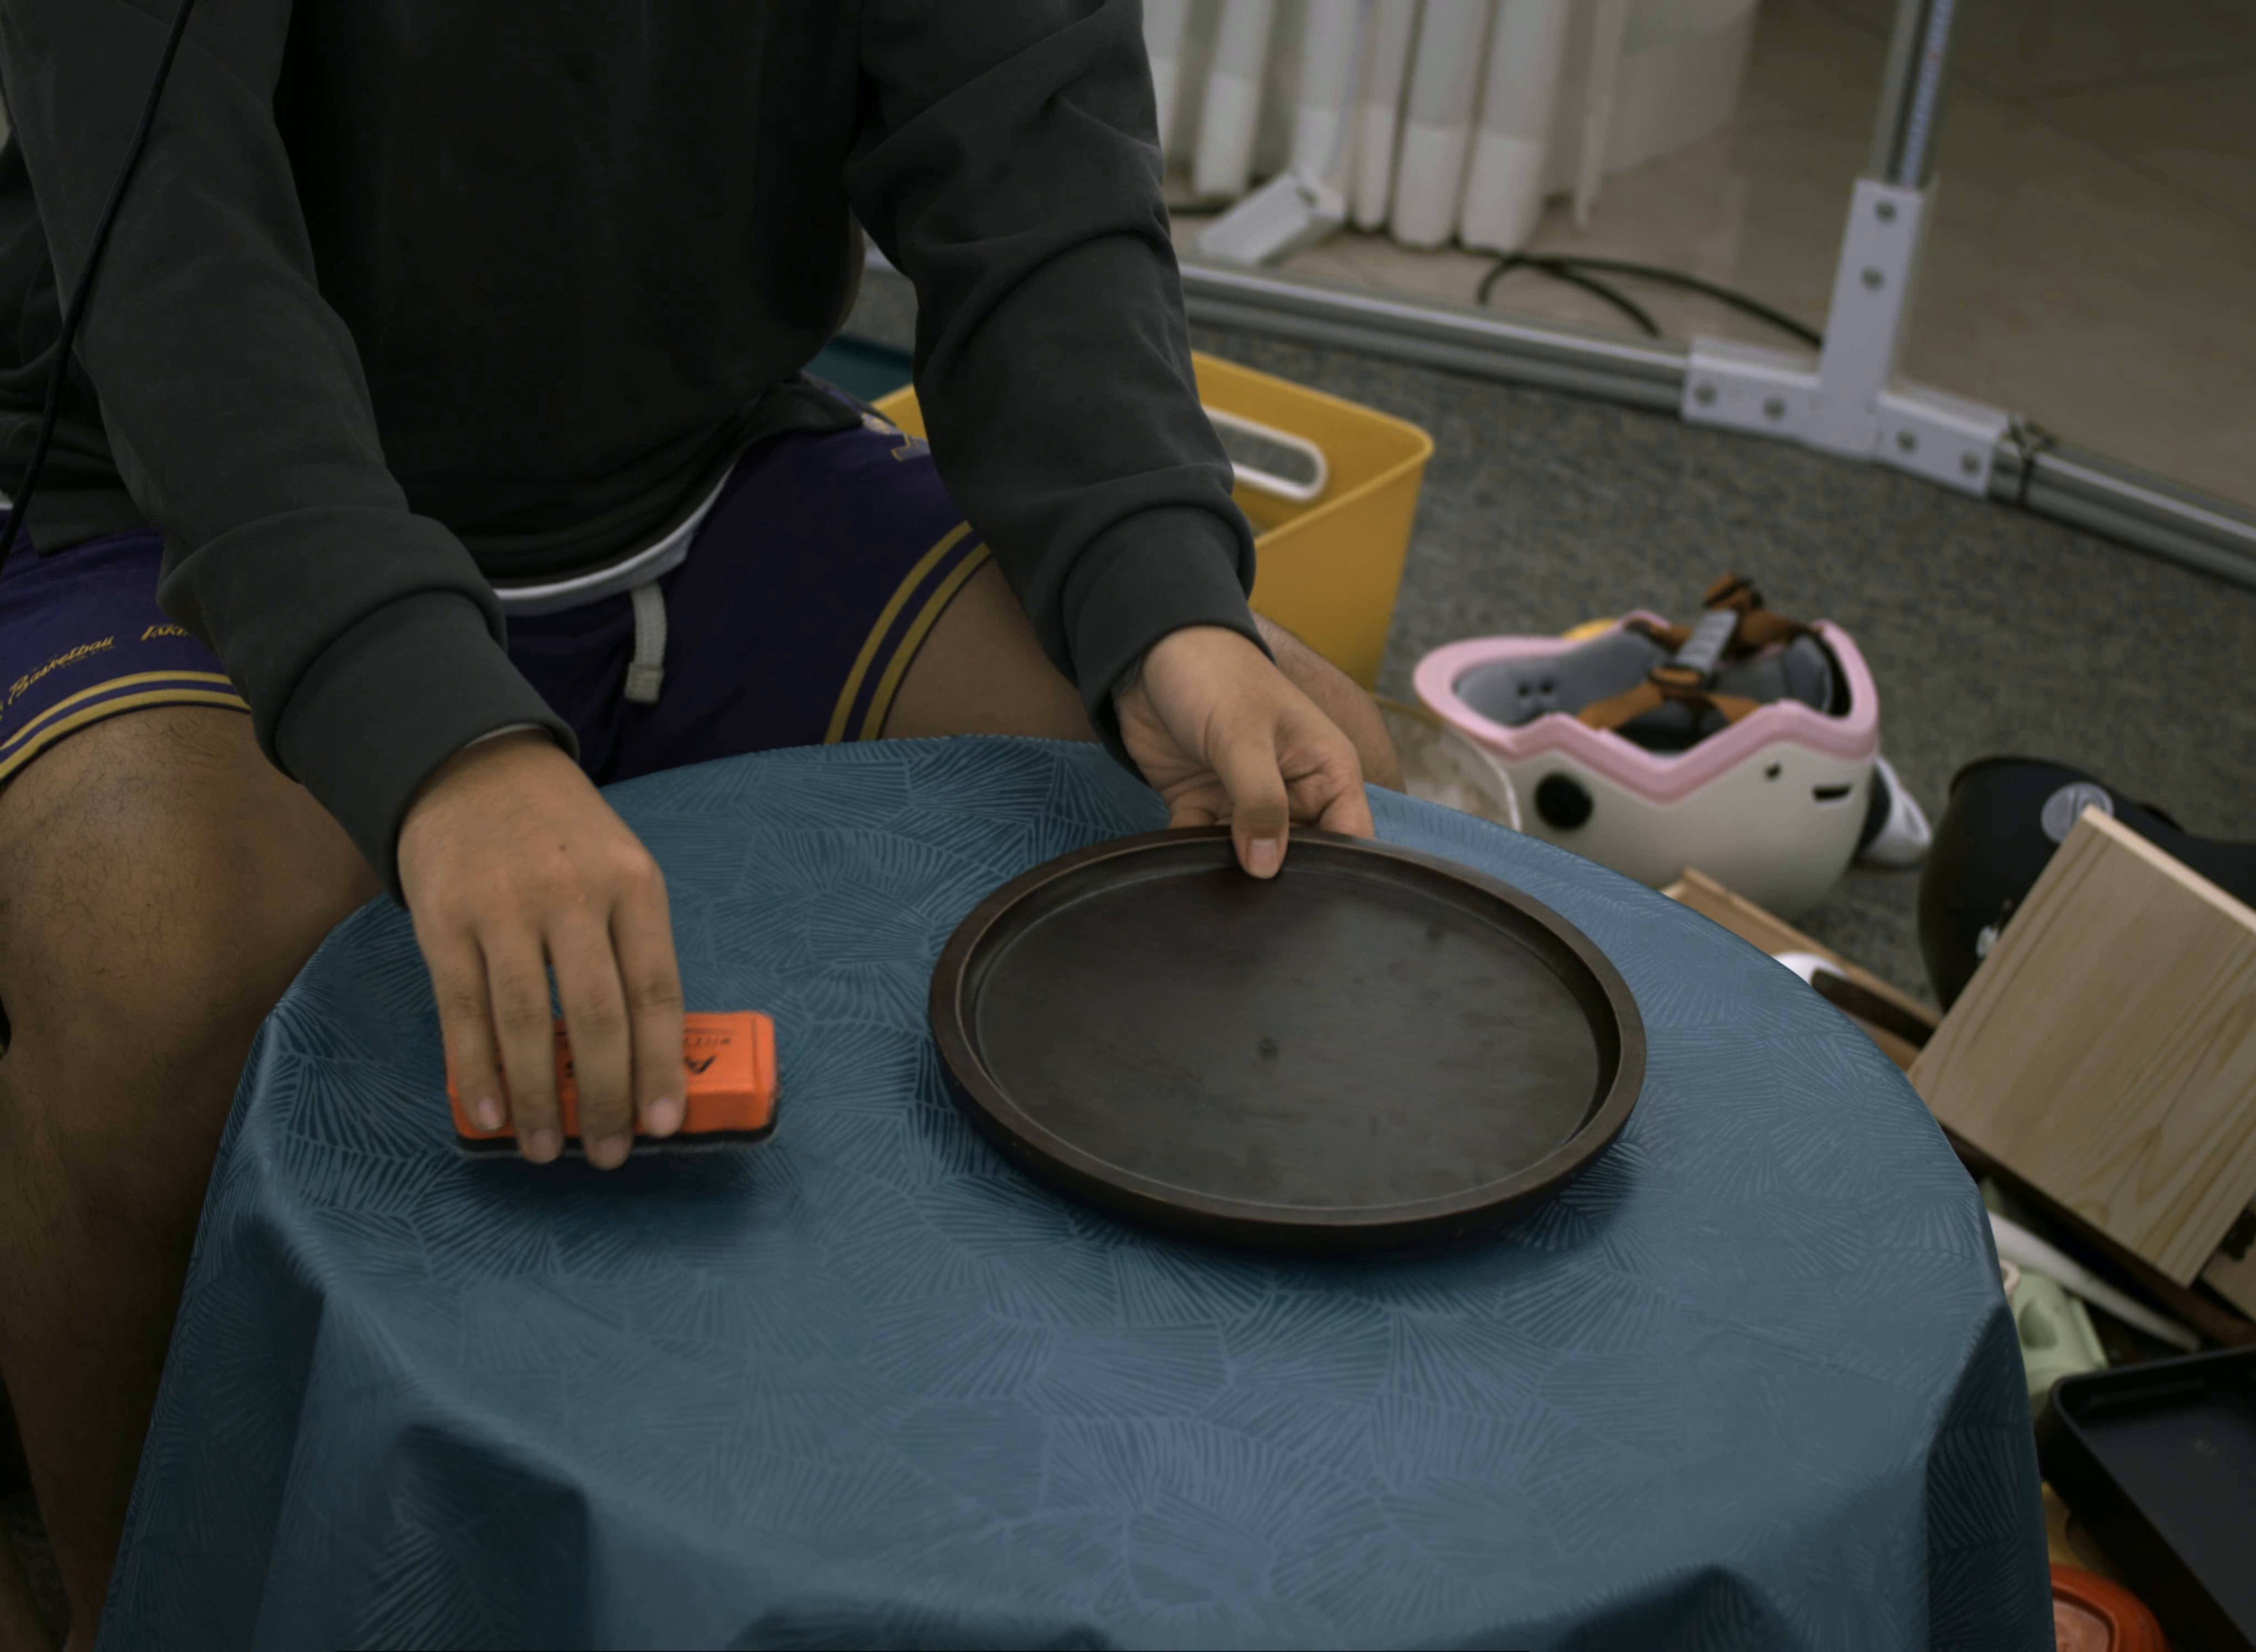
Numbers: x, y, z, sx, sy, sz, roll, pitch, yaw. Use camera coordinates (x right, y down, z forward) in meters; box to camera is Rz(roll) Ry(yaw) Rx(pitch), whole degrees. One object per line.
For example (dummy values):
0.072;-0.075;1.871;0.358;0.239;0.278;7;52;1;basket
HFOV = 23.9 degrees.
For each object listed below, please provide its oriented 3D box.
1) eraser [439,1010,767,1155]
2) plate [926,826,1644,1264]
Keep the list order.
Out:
-0.174;0.085;1.772;0.107;0.023;0.059;-2;24;-3;eraser
0.055;0.075;1.866;0.254;0.029;0.256;2;32;-2;plate
